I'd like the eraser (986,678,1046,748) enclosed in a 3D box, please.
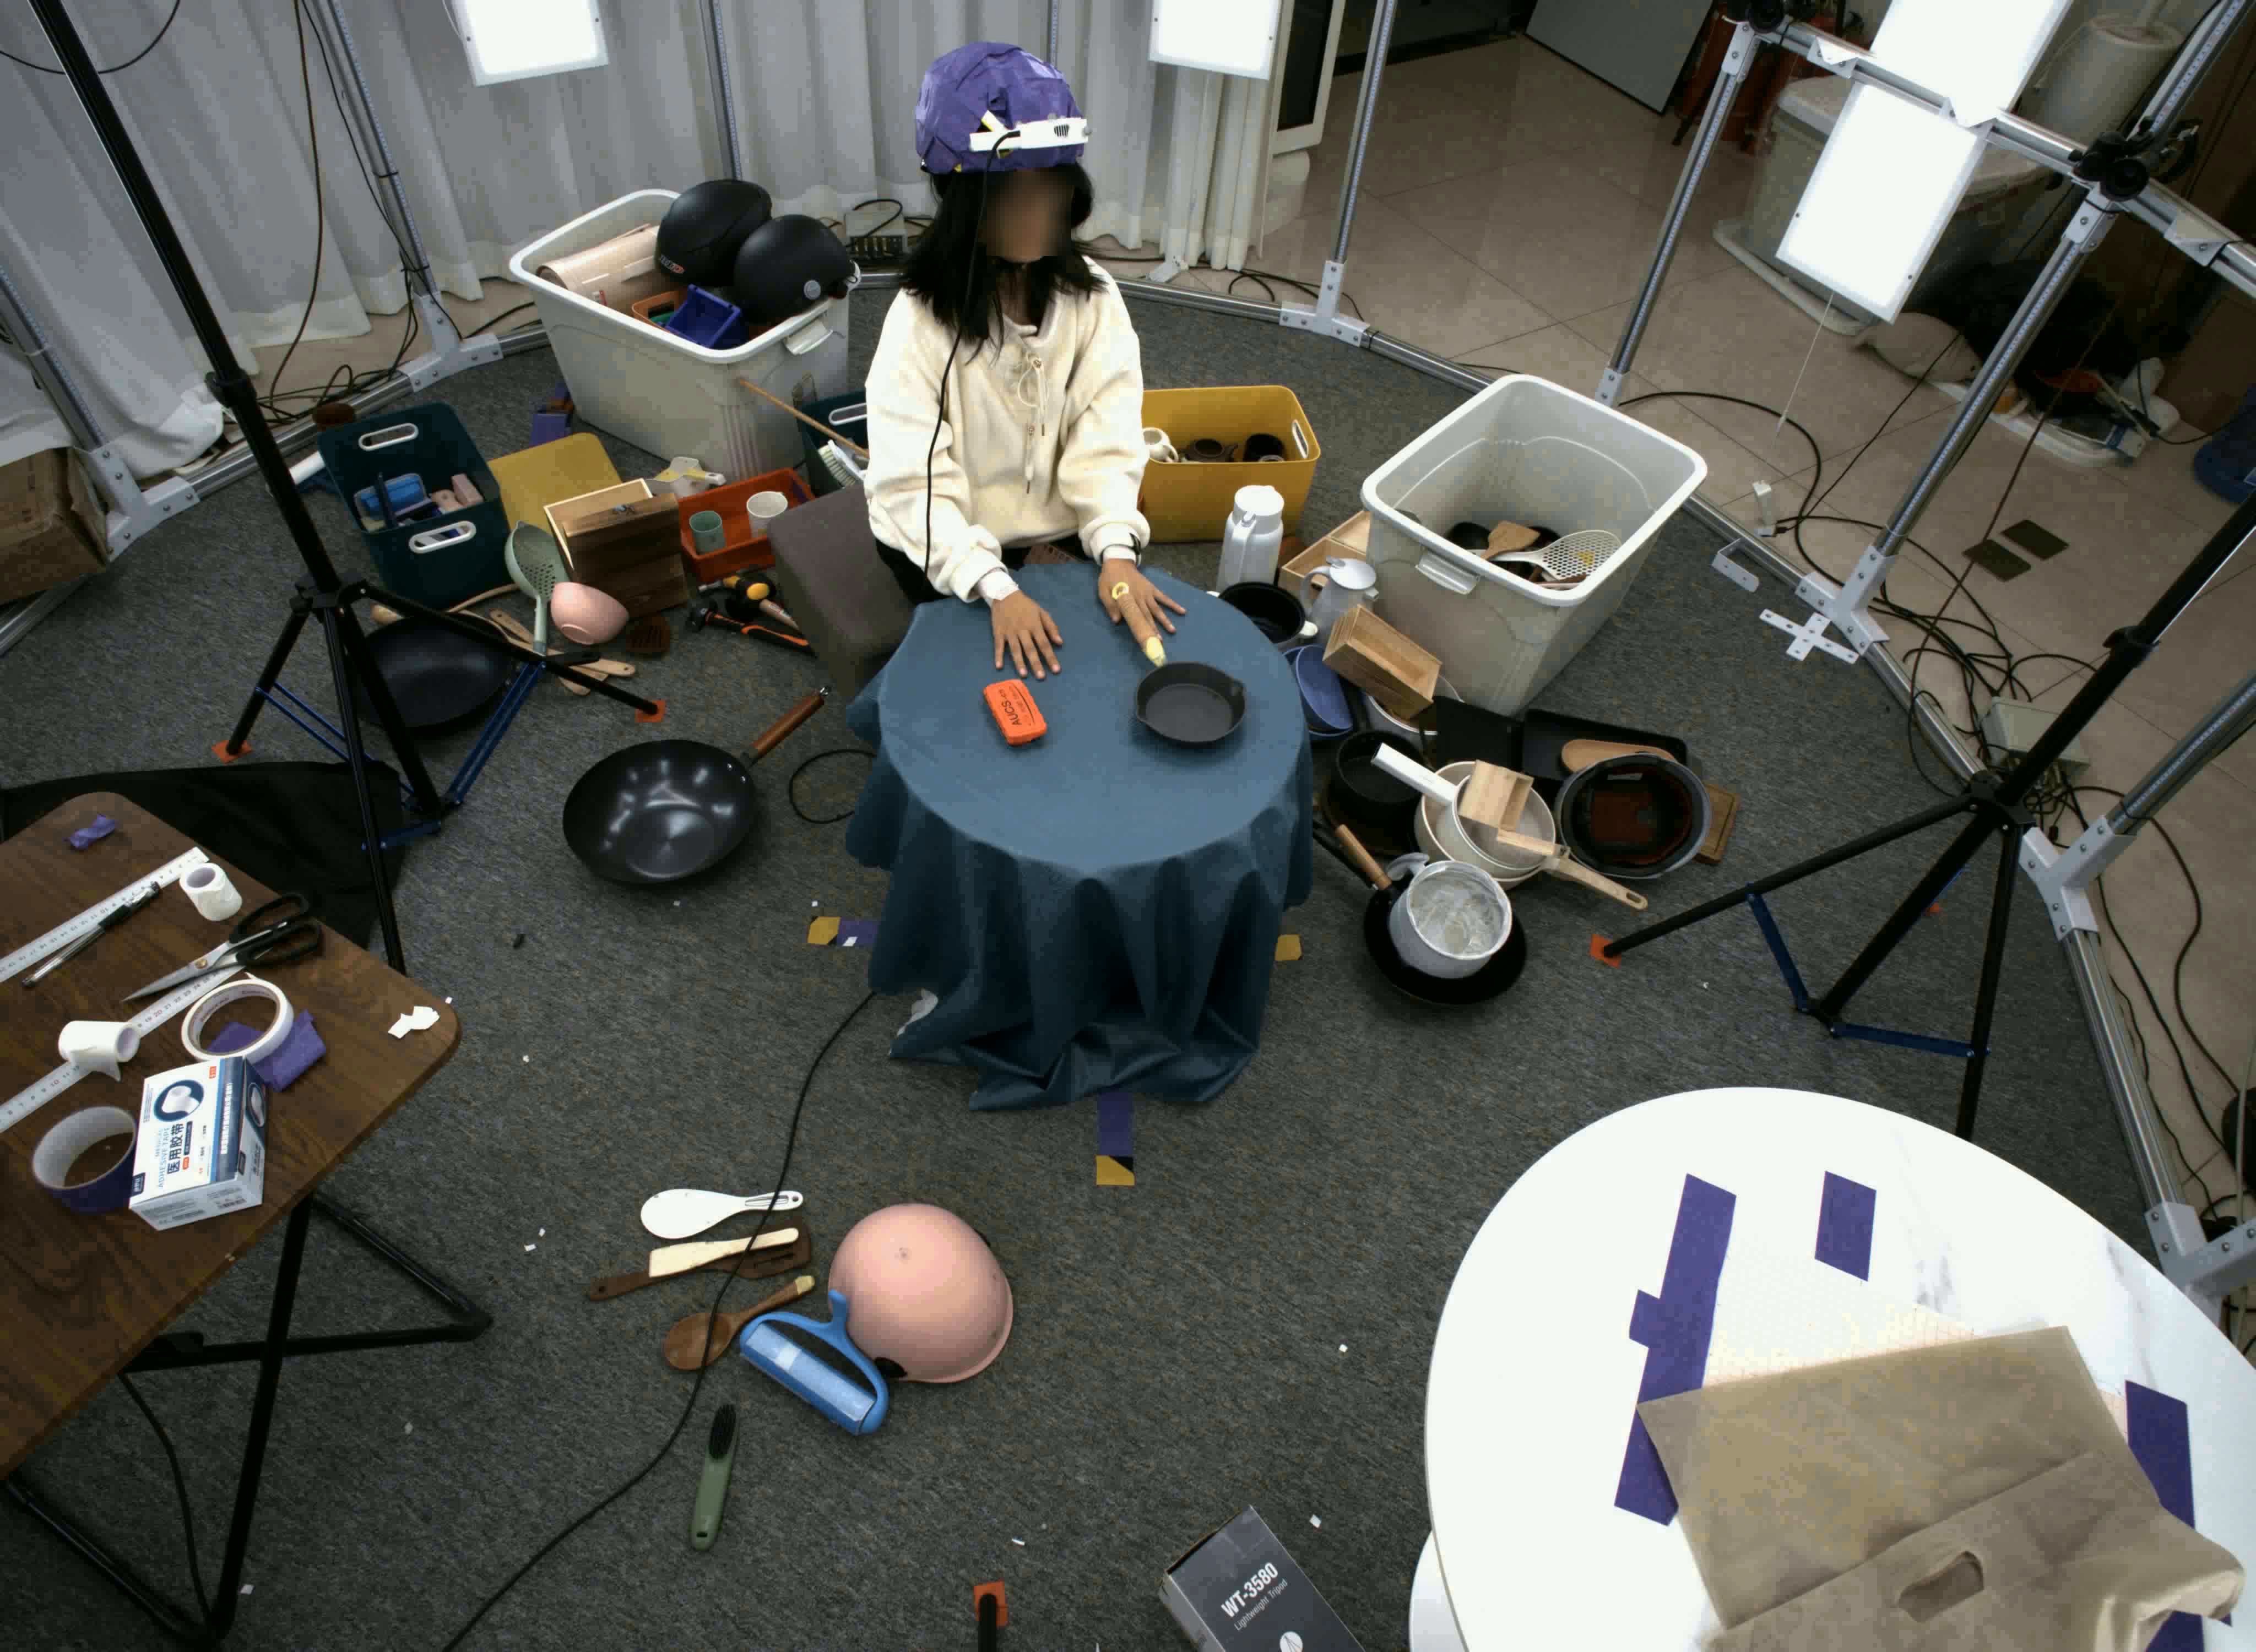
[{"bbox_3d":[-0.156,-0.158,1.781,0.059,0.022,0.110,-15,52,-17],"label":"eraser"}]

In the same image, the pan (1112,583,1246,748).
[{"bbox_3d":[0.052,-0.232,1.842,0.169,0.048,0.331,-17,54,-17],"label":"pan"}]
